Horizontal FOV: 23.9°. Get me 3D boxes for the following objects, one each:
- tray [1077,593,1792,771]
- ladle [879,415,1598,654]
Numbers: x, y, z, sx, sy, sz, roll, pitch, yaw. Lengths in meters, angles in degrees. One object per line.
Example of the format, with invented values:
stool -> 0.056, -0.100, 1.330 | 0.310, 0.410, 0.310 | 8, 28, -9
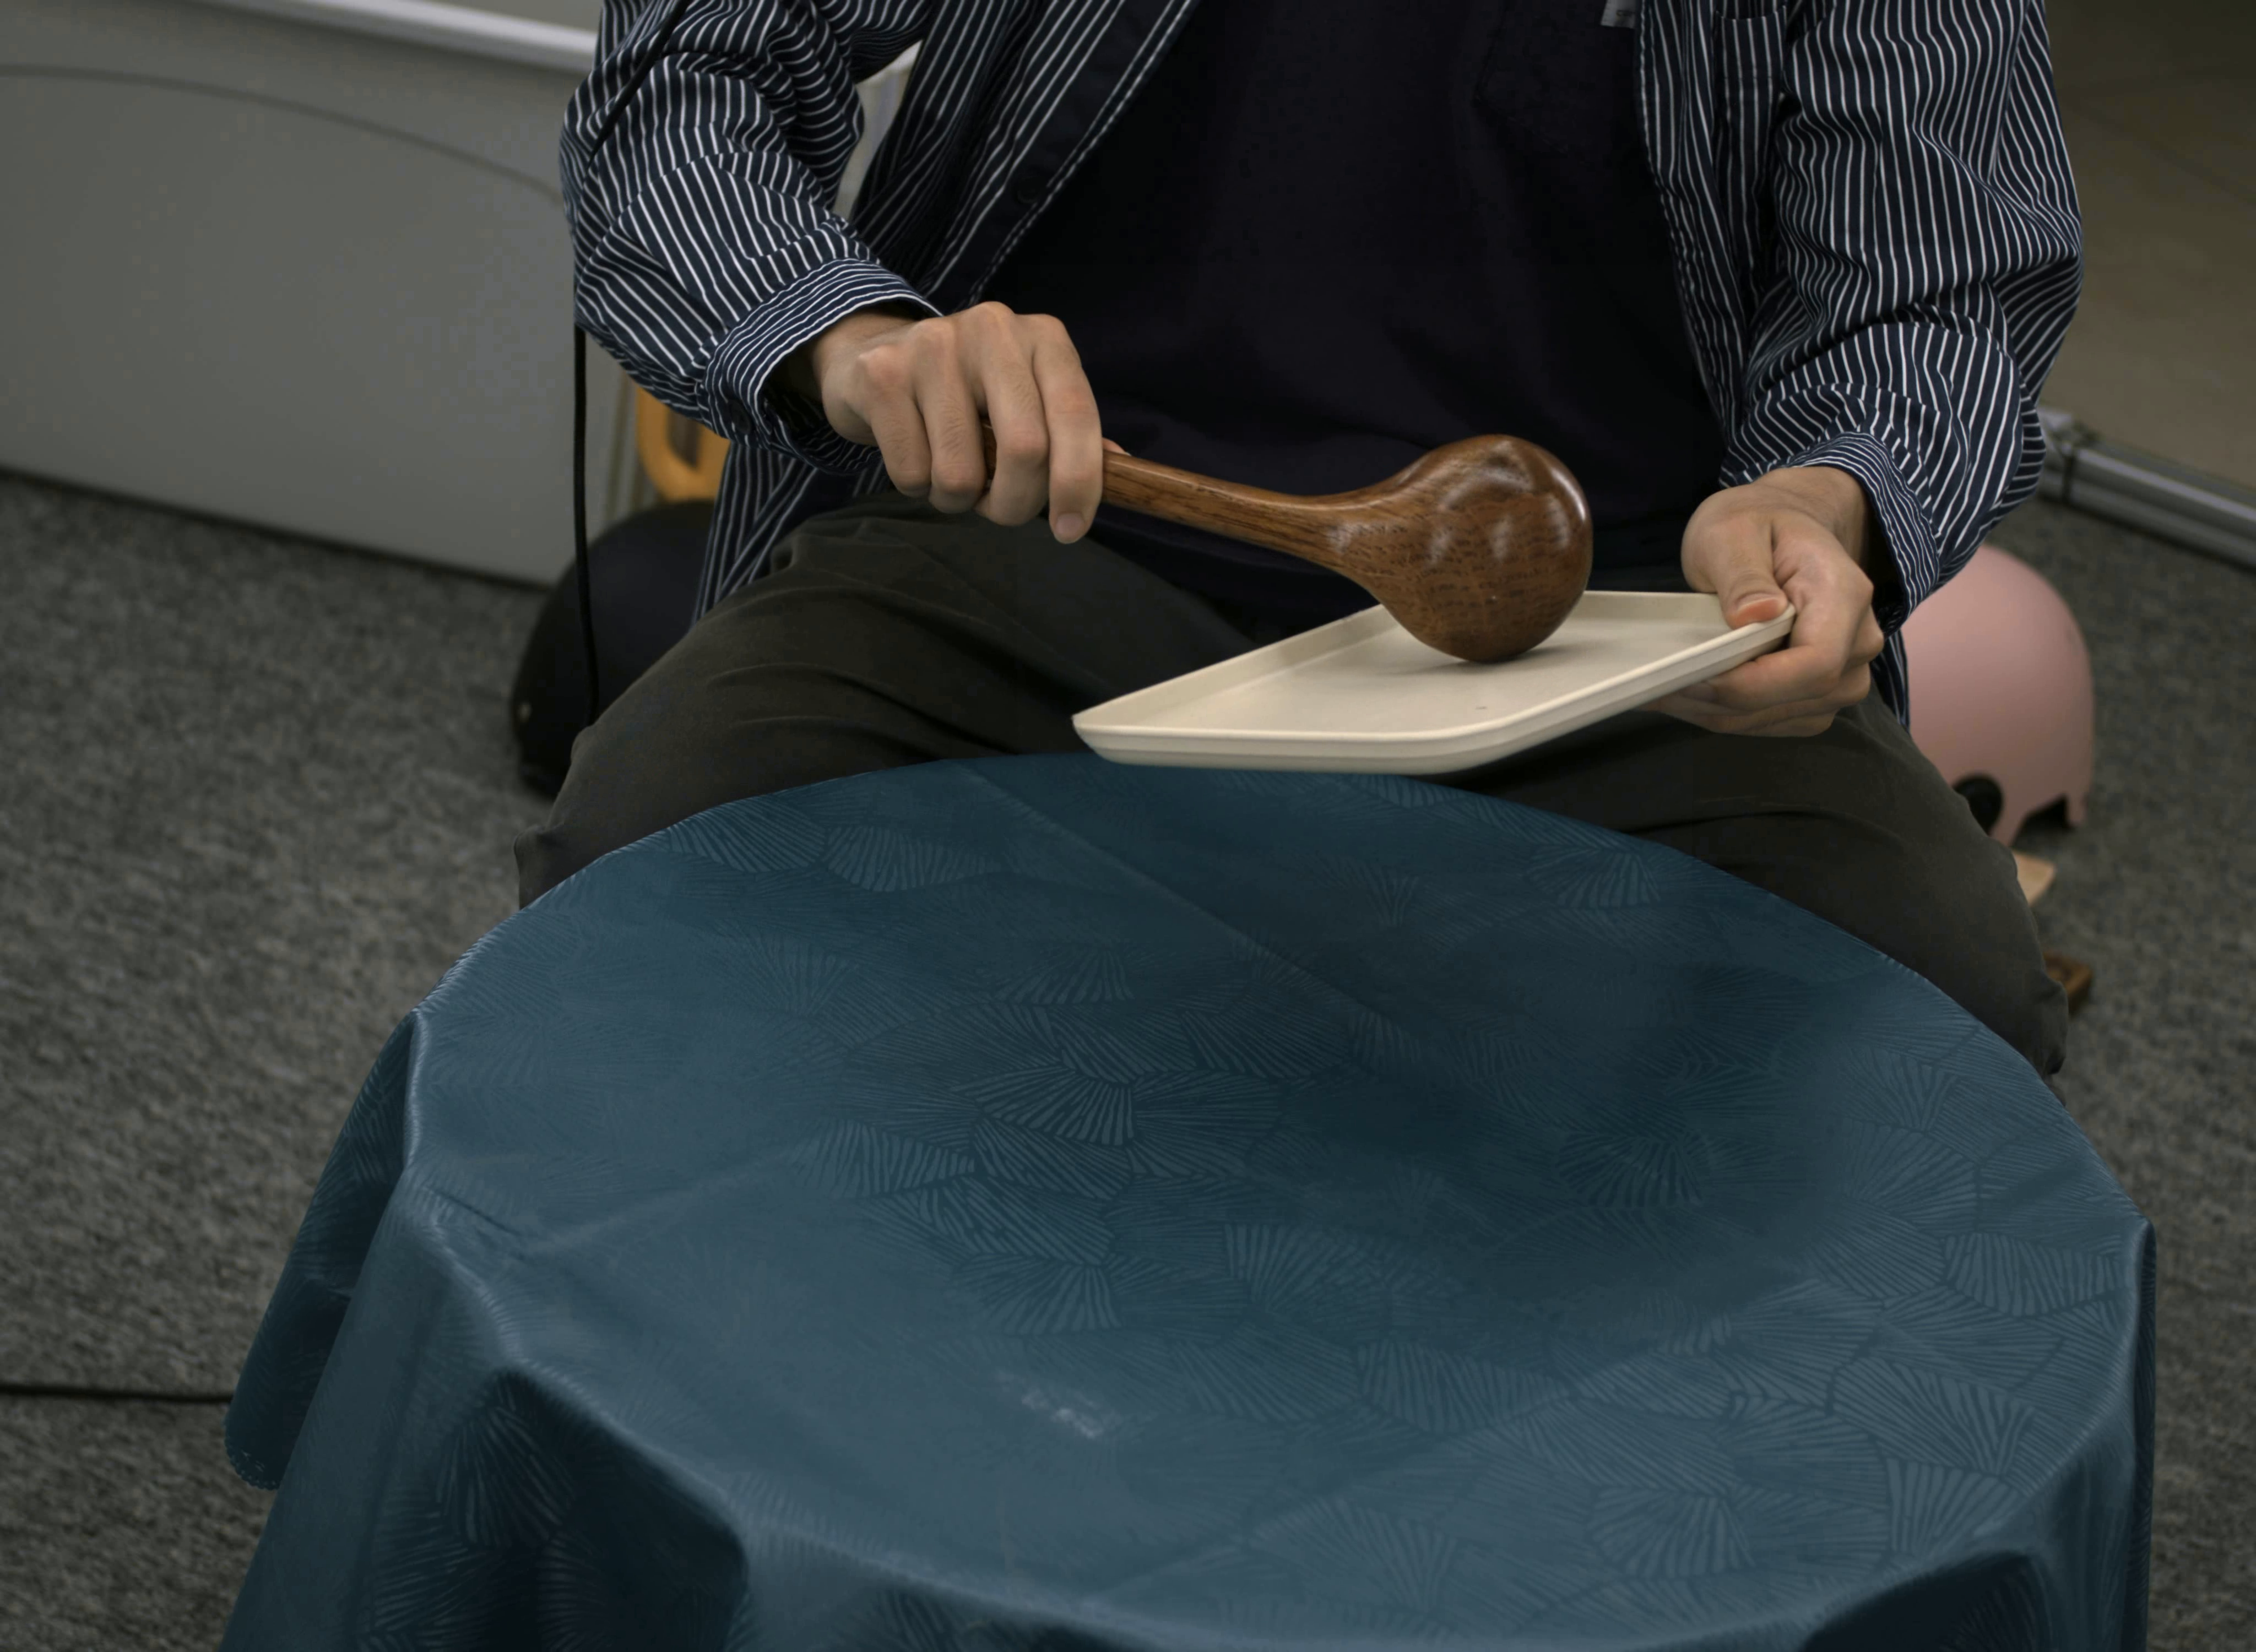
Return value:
tray -> 0.108, -0.050, 1.831 | 0.172, 0.017, 0.238 | 2, 14, 37
ladle -> 0.040, -0.122, 1.935 | 0.275, 0.082, 0.076 | 14, 10, 33
